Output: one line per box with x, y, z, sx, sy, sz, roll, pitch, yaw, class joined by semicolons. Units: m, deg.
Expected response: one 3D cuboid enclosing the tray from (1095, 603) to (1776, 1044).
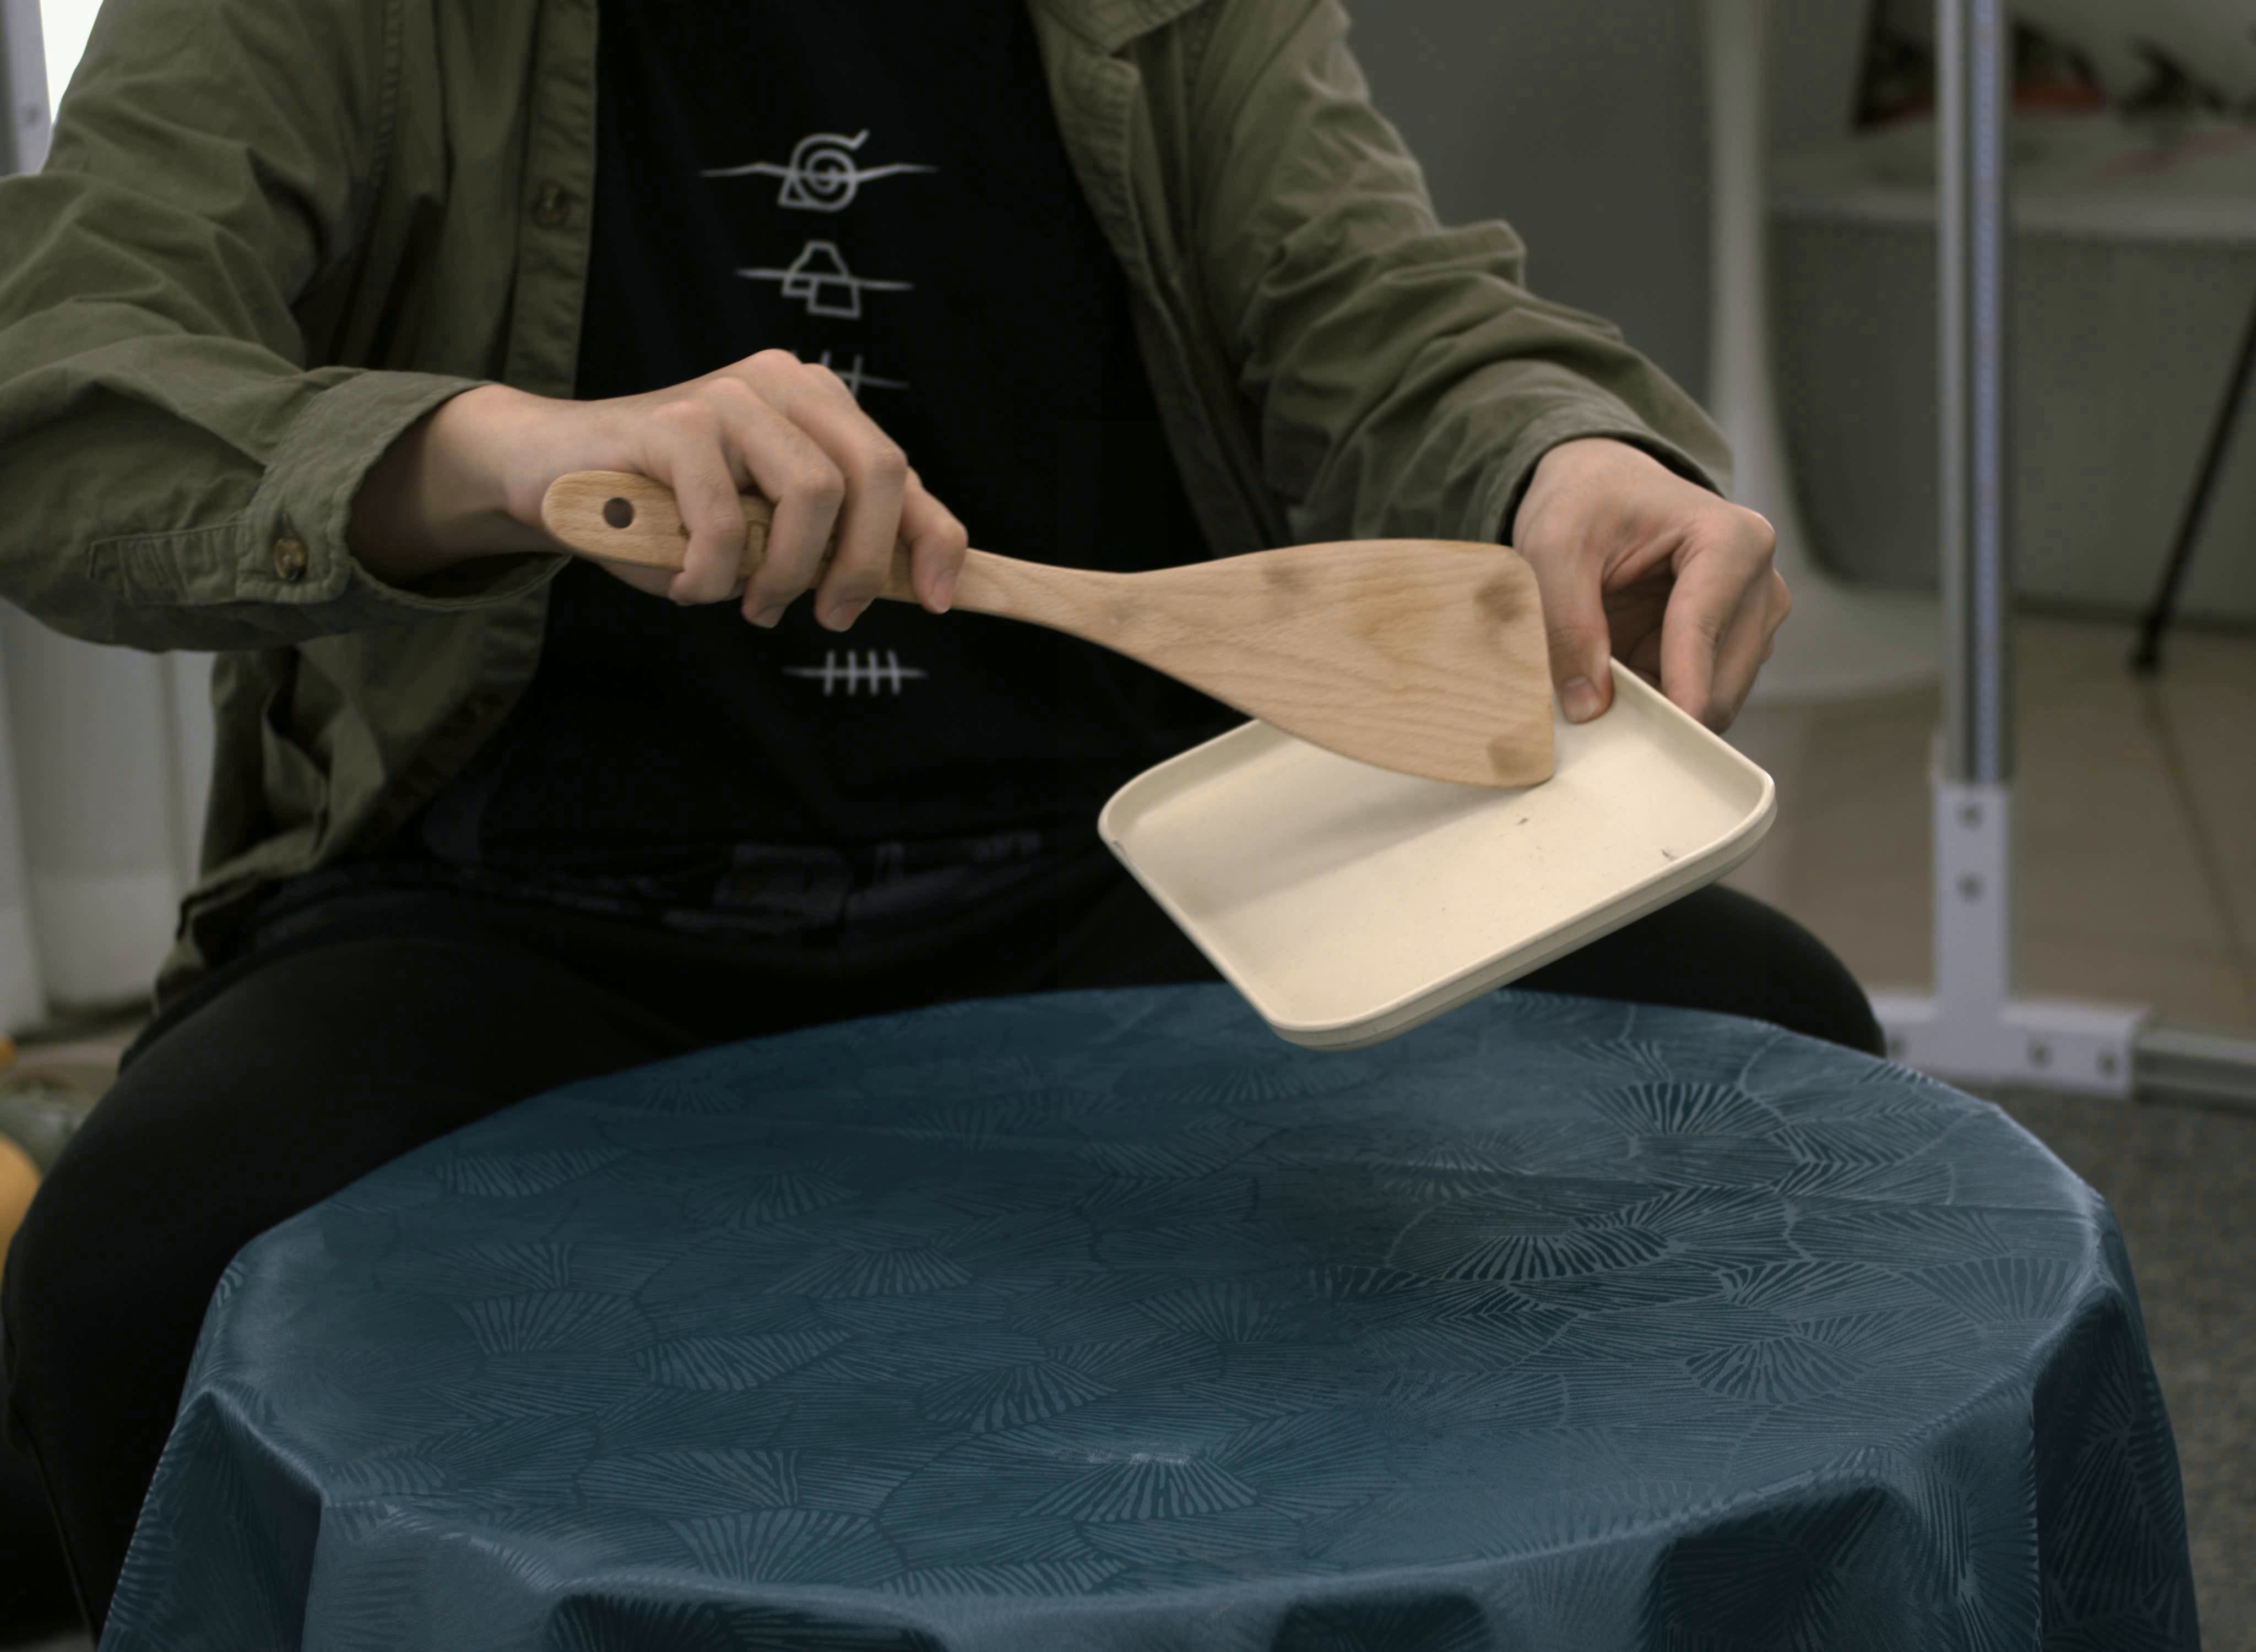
0.092;-0.002;1.671;0.169;0.017;0.242;-26;22;-7;tray

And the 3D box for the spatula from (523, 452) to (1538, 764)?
-0.026;-0.079;1.661;0.321;0.081;0.016;9;-15;-13;spatula
